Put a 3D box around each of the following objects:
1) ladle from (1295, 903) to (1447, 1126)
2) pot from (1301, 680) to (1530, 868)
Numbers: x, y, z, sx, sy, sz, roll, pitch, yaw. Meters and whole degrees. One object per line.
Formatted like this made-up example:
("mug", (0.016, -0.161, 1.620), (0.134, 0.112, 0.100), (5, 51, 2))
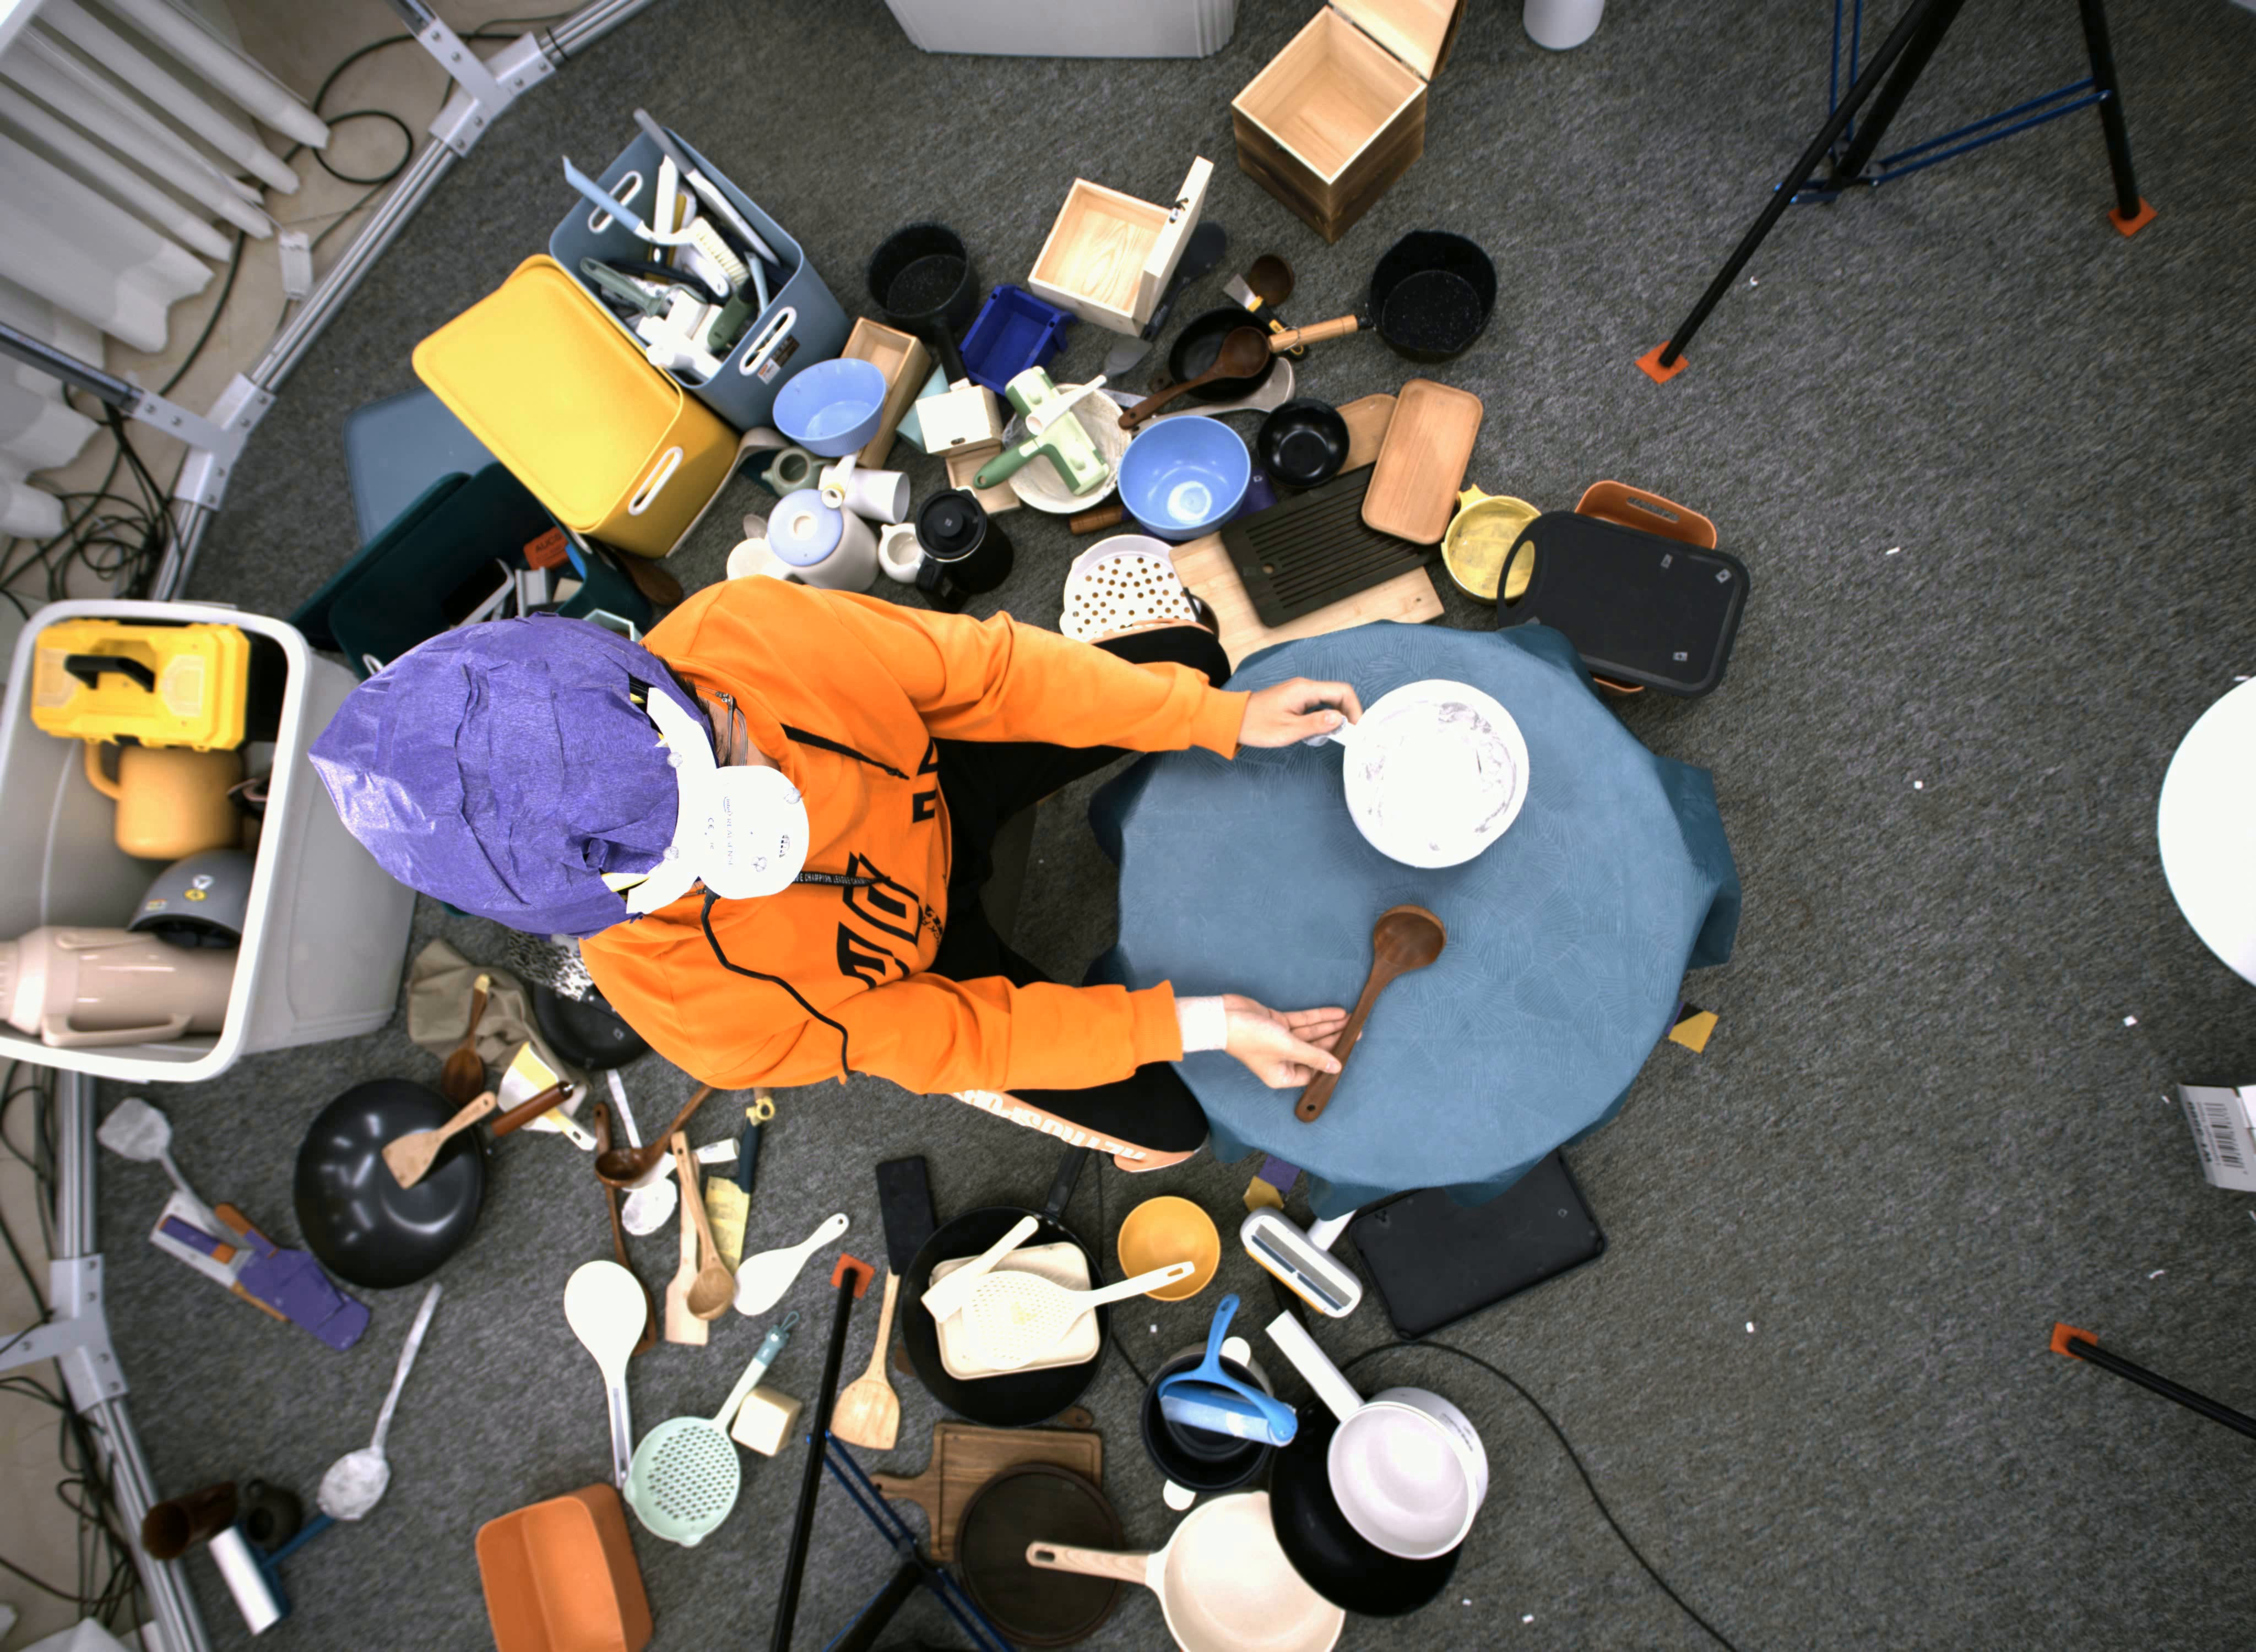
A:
("ladle", (0.243, 0.196, 1.426), (0.076, 0.065, 0.260), (30, 92, 5))
("pot", (0.283, -0.061, 1.395), (0.233, 0.137, 0.178), (25, 90, 11))
